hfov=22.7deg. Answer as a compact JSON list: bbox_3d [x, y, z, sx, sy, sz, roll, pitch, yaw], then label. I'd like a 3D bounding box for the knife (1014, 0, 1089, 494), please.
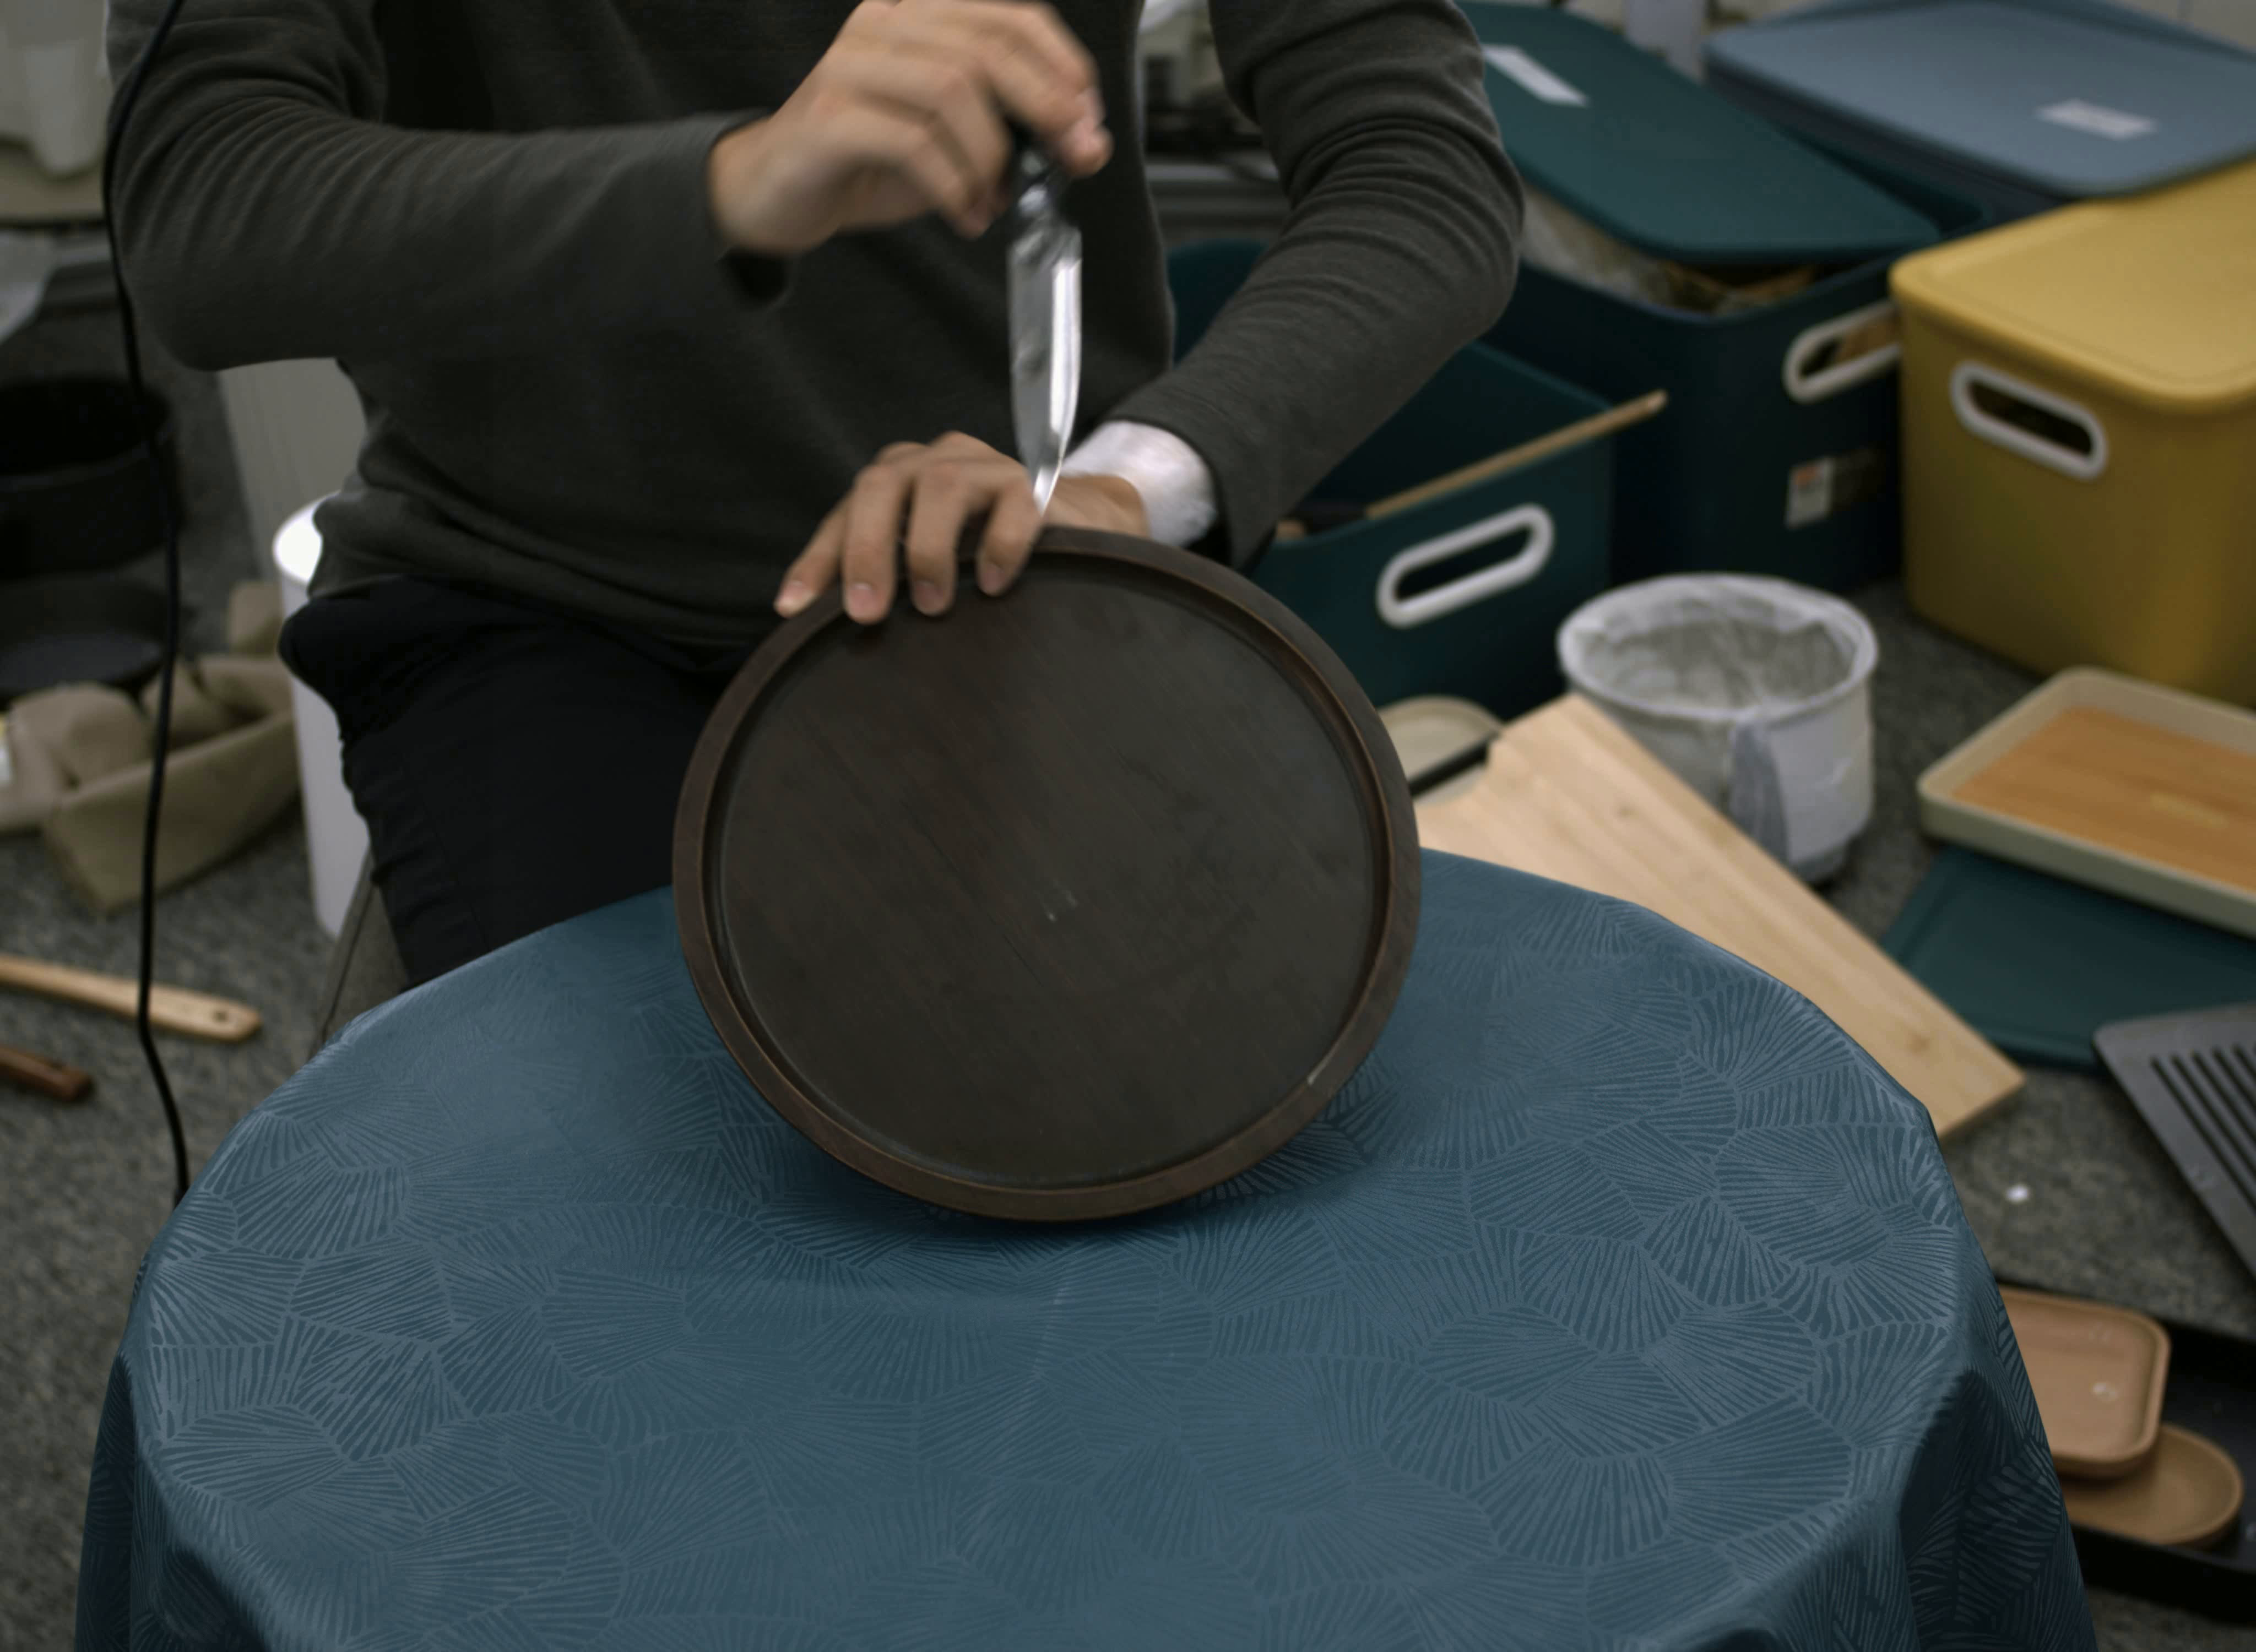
[{"bbox_3d":[-0.026,-0.193,1.853,0.024,0.016,0.243,3,47,-5],"label":"knife"}]

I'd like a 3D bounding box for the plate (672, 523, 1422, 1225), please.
[{"bbox_3d":[-0.028,0.015,1.894,0.254,0.028,0.259,2,66,-3],"label":"plate"}]
